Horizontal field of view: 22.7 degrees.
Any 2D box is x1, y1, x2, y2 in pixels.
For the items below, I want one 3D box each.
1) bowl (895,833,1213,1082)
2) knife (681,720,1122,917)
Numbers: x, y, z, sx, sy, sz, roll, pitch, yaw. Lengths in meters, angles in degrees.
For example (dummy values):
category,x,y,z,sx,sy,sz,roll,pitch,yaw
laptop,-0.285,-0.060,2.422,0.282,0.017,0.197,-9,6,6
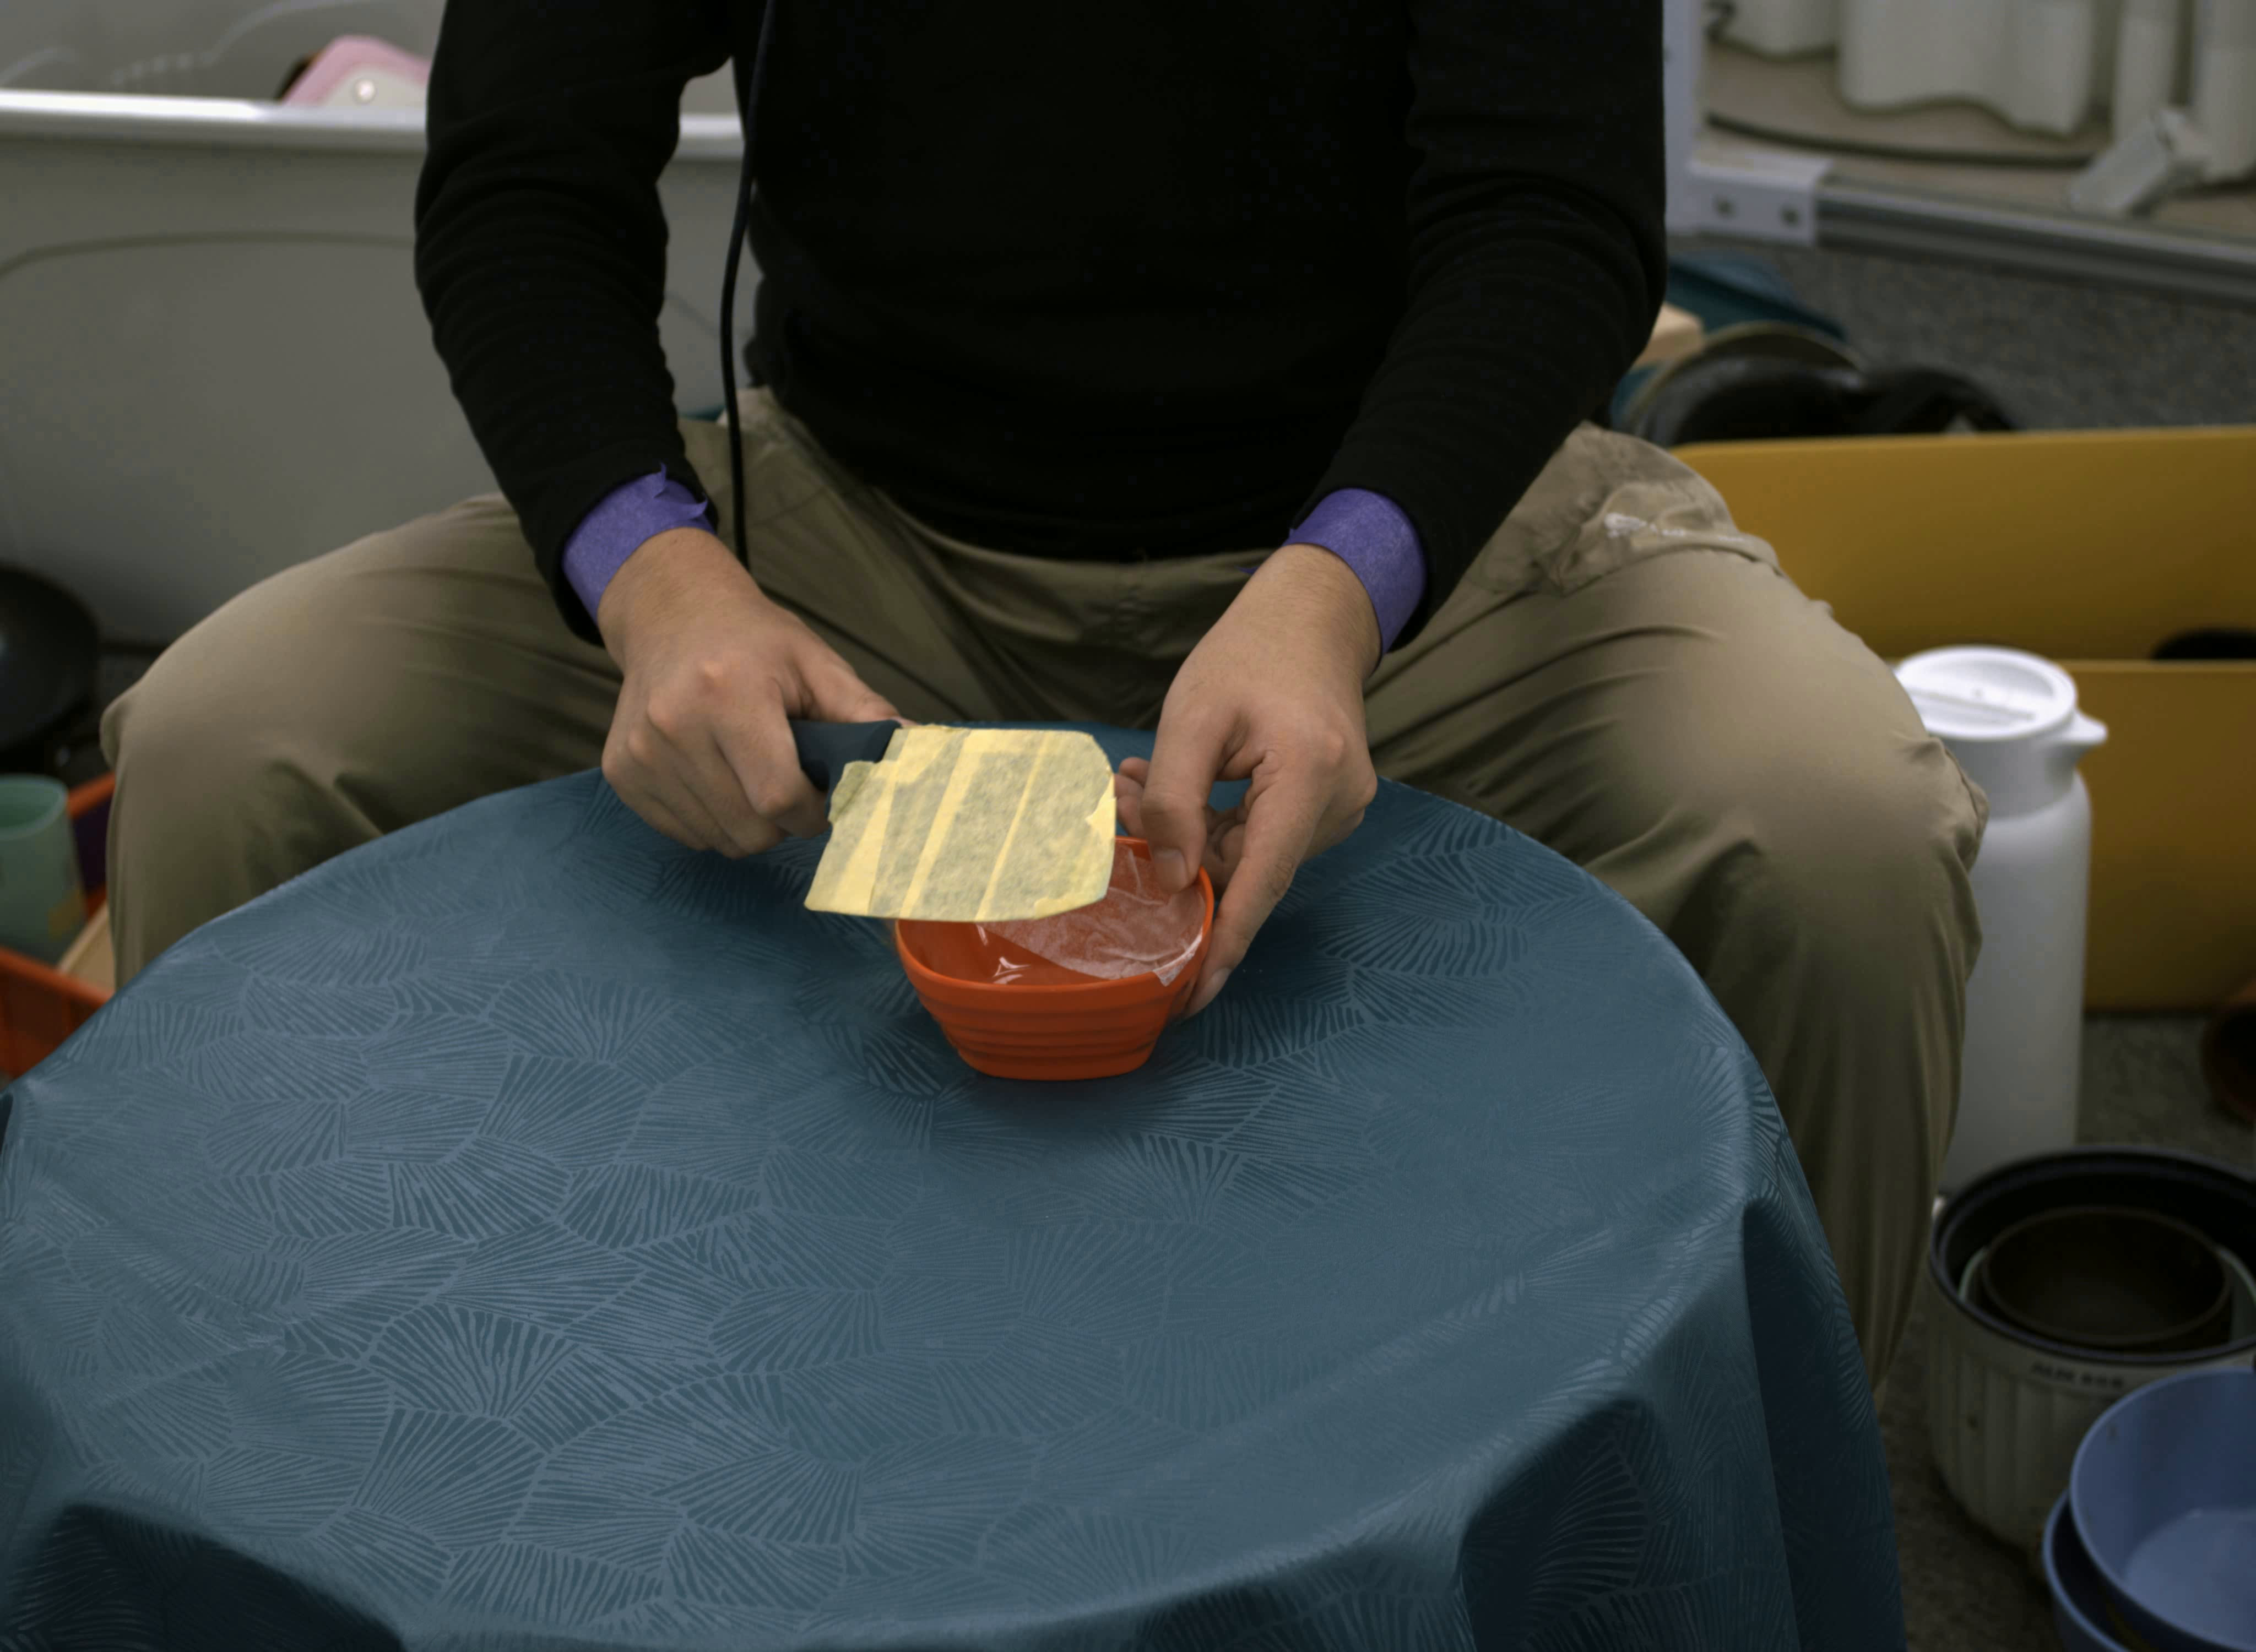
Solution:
category,x,y,z,sx,sy,sz,roll,pitch,yaw
bowl,-0.024,0.050,1.943,0.118,0.051,0.121,-3,28,2
knife,-0.084,-0.004,1.973,0.287,0.027,0.082,4,65,56
